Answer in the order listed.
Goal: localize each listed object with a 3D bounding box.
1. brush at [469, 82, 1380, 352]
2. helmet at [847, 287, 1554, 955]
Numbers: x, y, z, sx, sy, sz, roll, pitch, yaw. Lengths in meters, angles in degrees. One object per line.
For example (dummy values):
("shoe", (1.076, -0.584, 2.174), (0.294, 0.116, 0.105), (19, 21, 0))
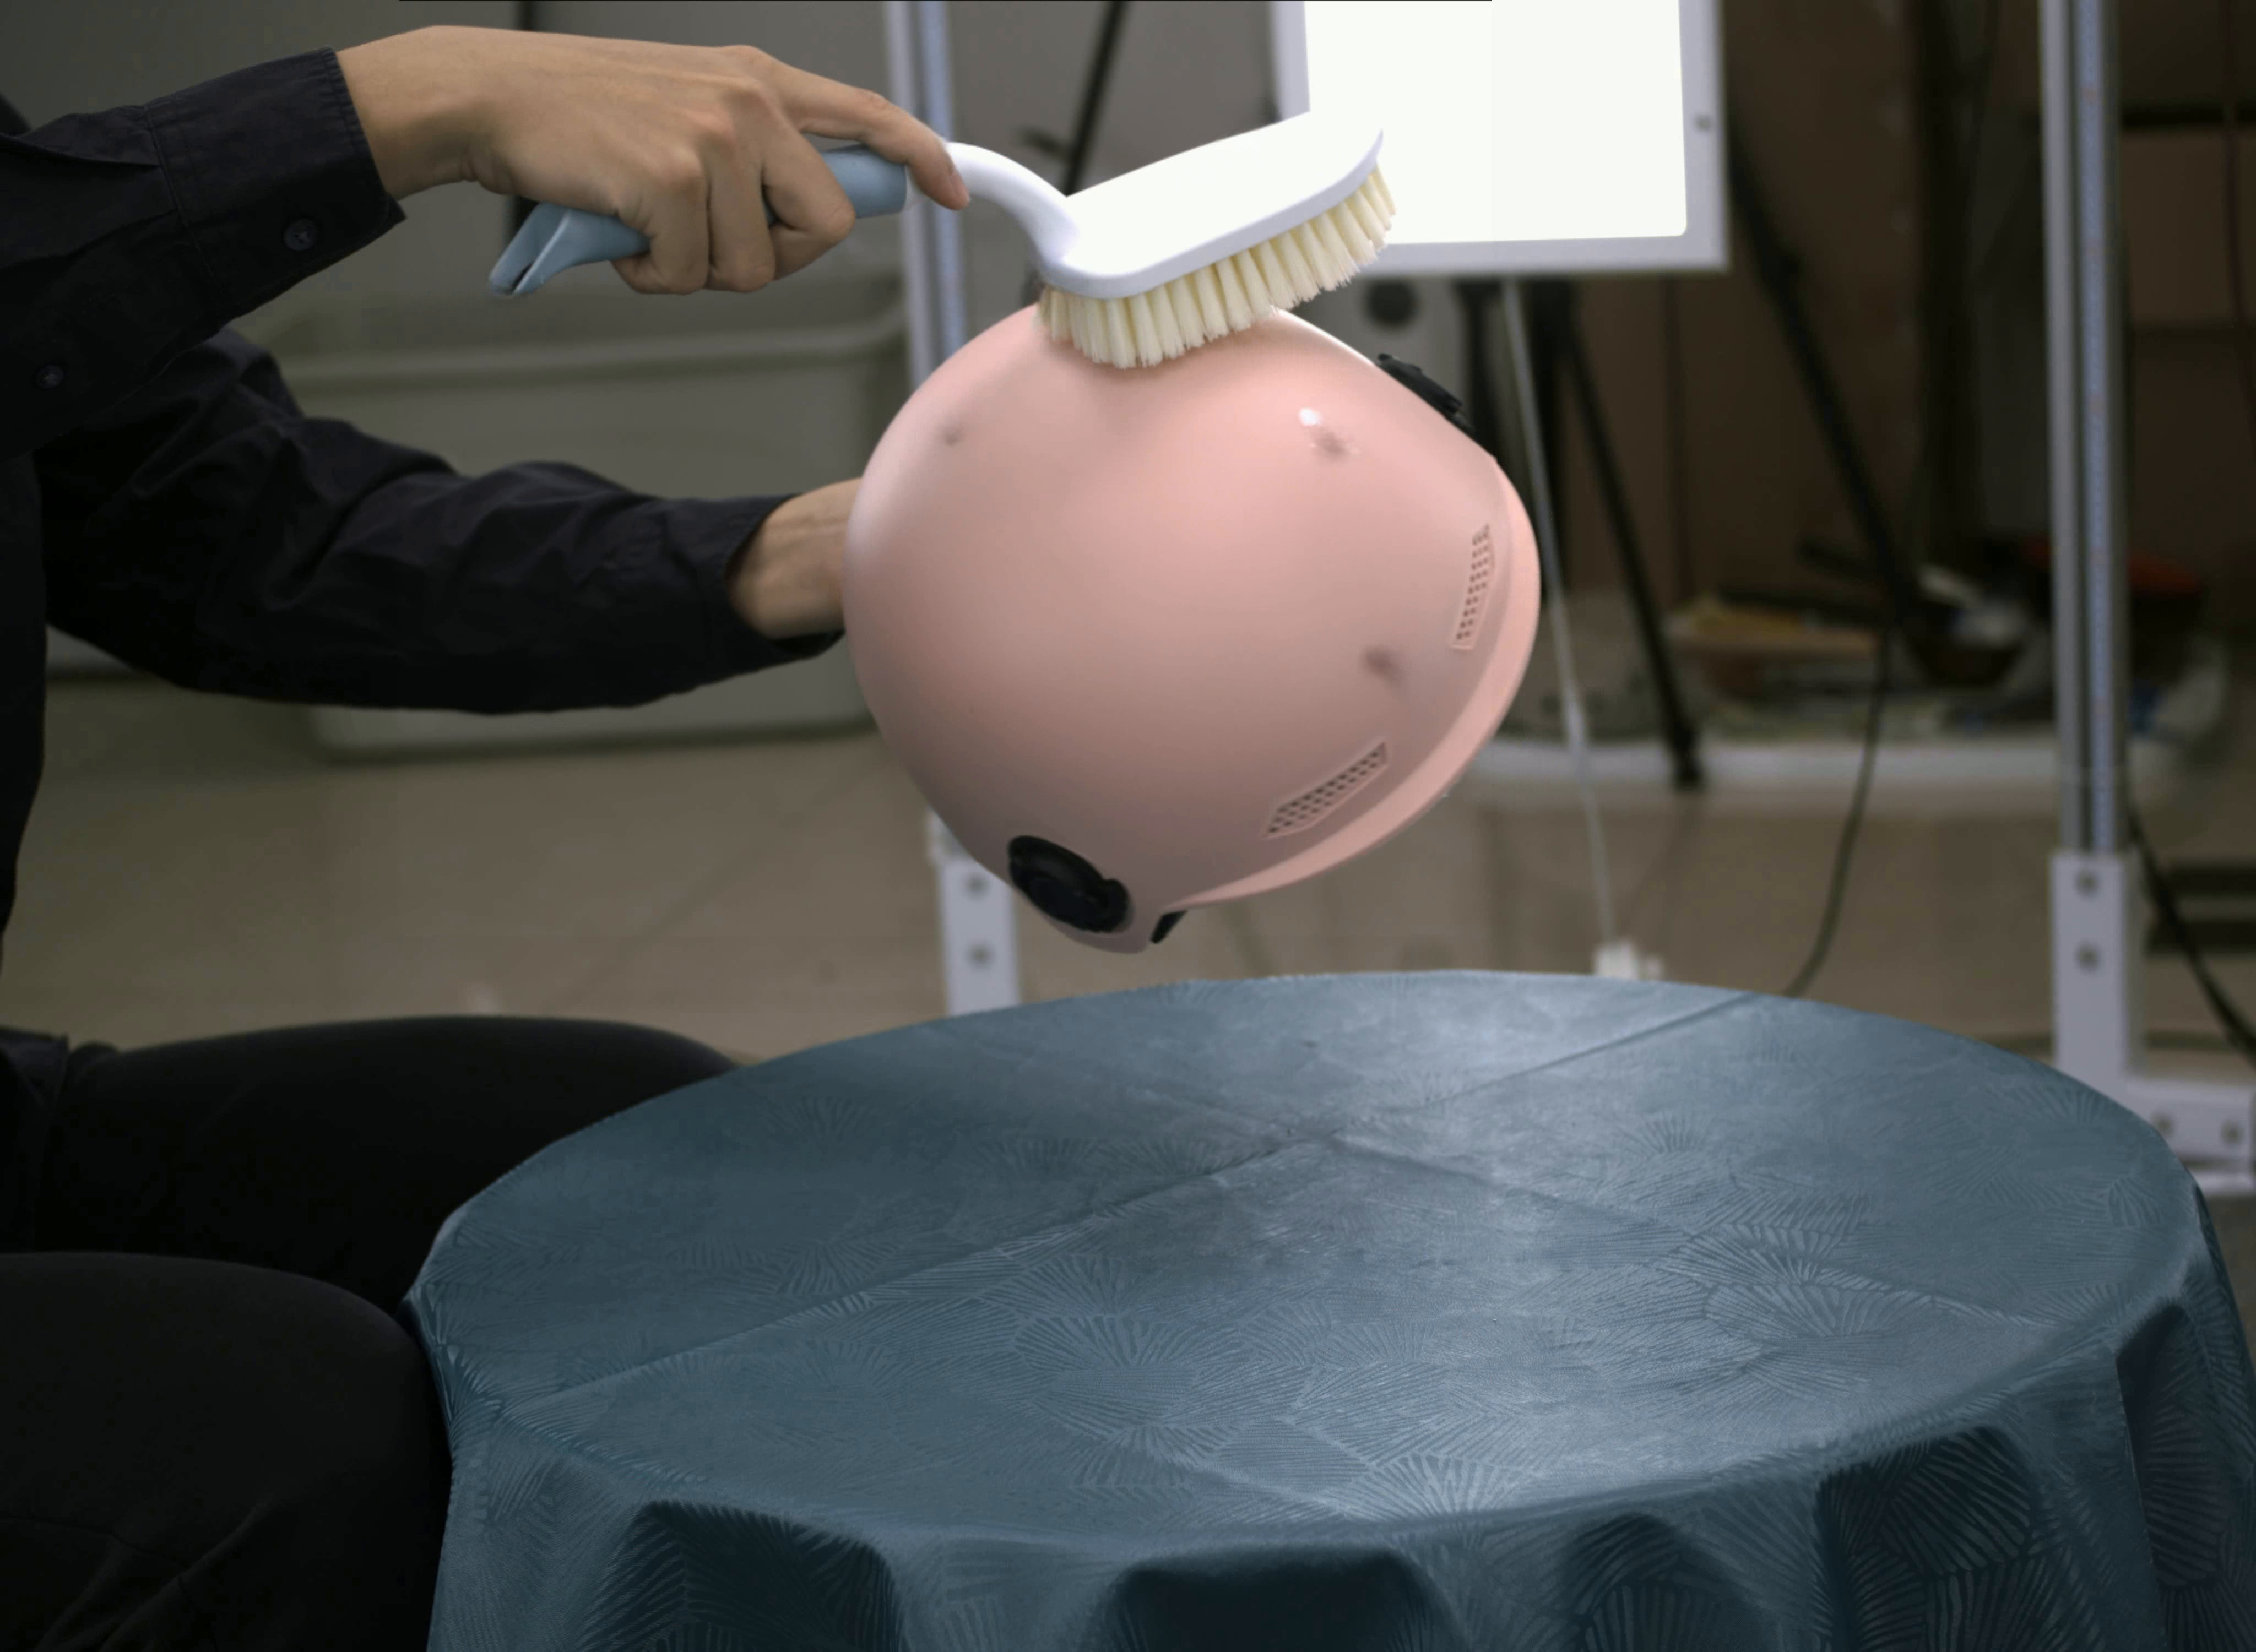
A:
("brush", (-0.063, -0.183, 1.803), (0.319, 0.085, 0.084), (-13, -10, -23))
("helmet", (0.006, -0.091, 1.876), (0.271, 0.157, 0.232), (21, 71, 51))
